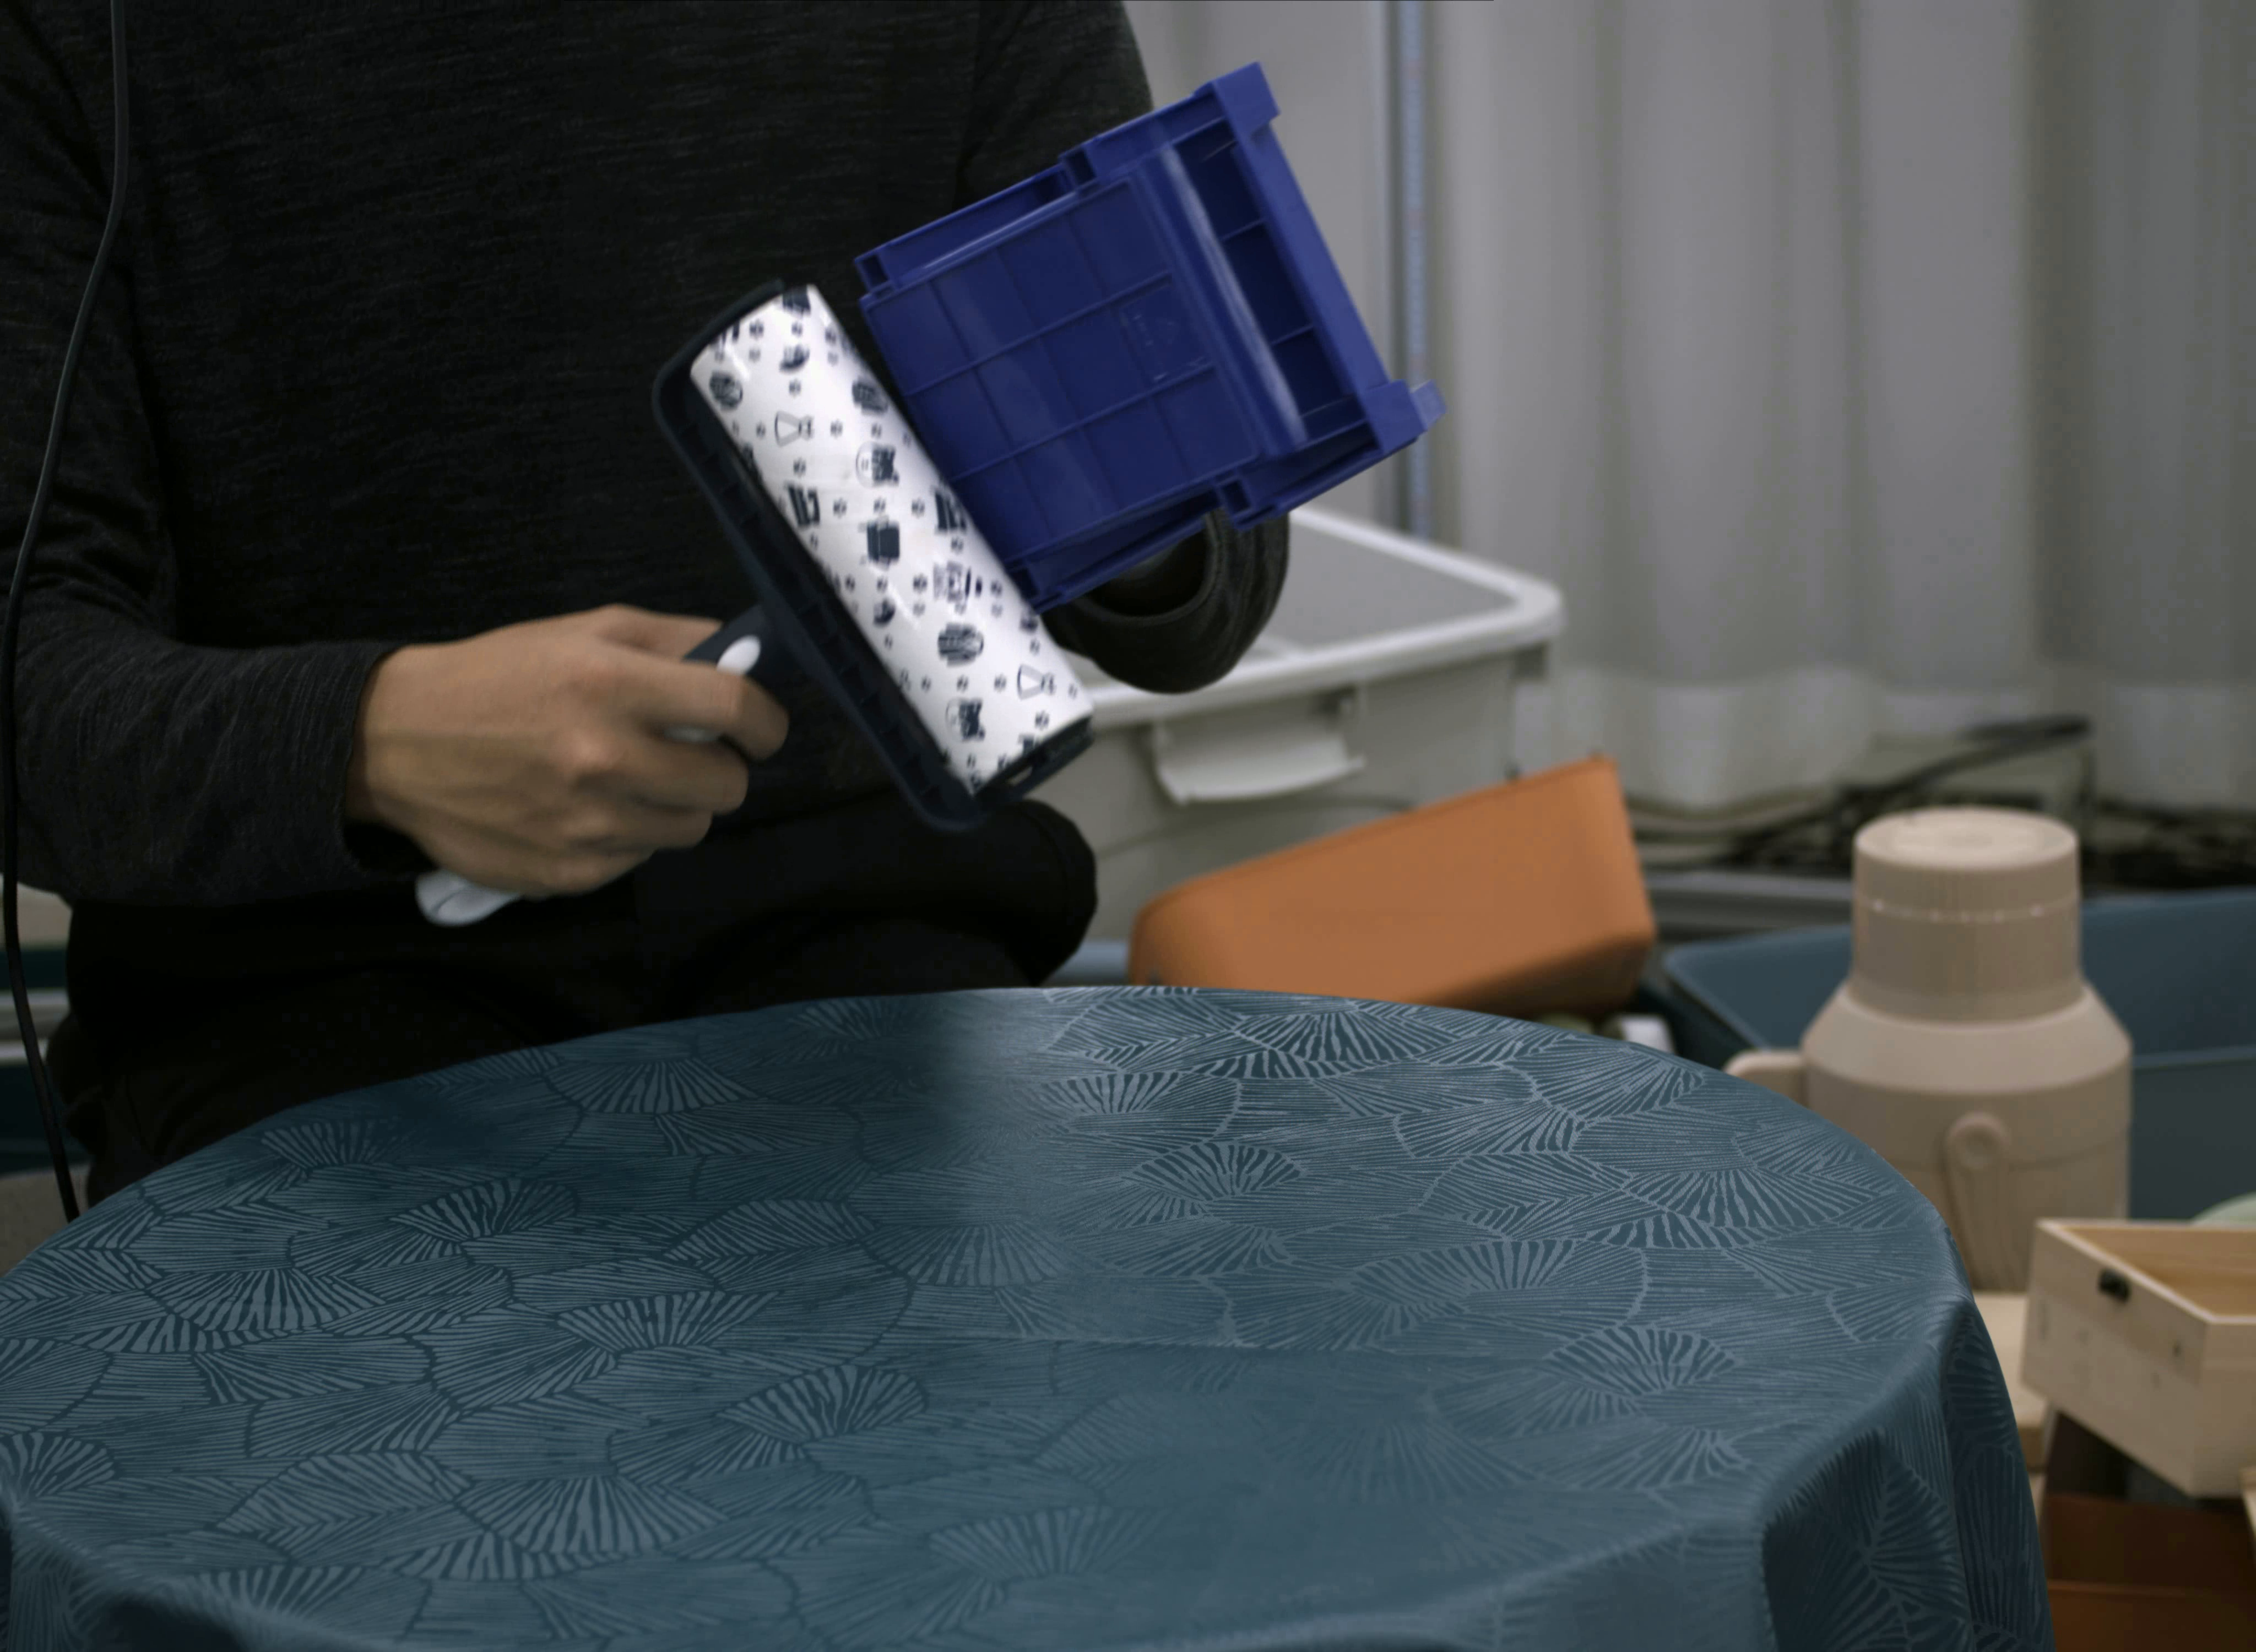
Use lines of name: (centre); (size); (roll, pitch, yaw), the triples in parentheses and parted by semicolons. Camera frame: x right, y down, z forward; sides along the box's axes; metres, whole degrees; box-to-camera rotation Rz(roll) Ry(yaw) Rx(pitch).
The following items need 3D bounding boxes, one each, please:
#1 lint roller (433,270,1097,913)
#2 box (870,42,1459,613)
lint roller: (-0.140, -0.038, 1.736); (0.246, 0.177, 0.050); (-38, -7, 28)
box: (0.014, -0.151, 1.666); (0.082, 0.124, 0.179); (-28, 4, -43)
